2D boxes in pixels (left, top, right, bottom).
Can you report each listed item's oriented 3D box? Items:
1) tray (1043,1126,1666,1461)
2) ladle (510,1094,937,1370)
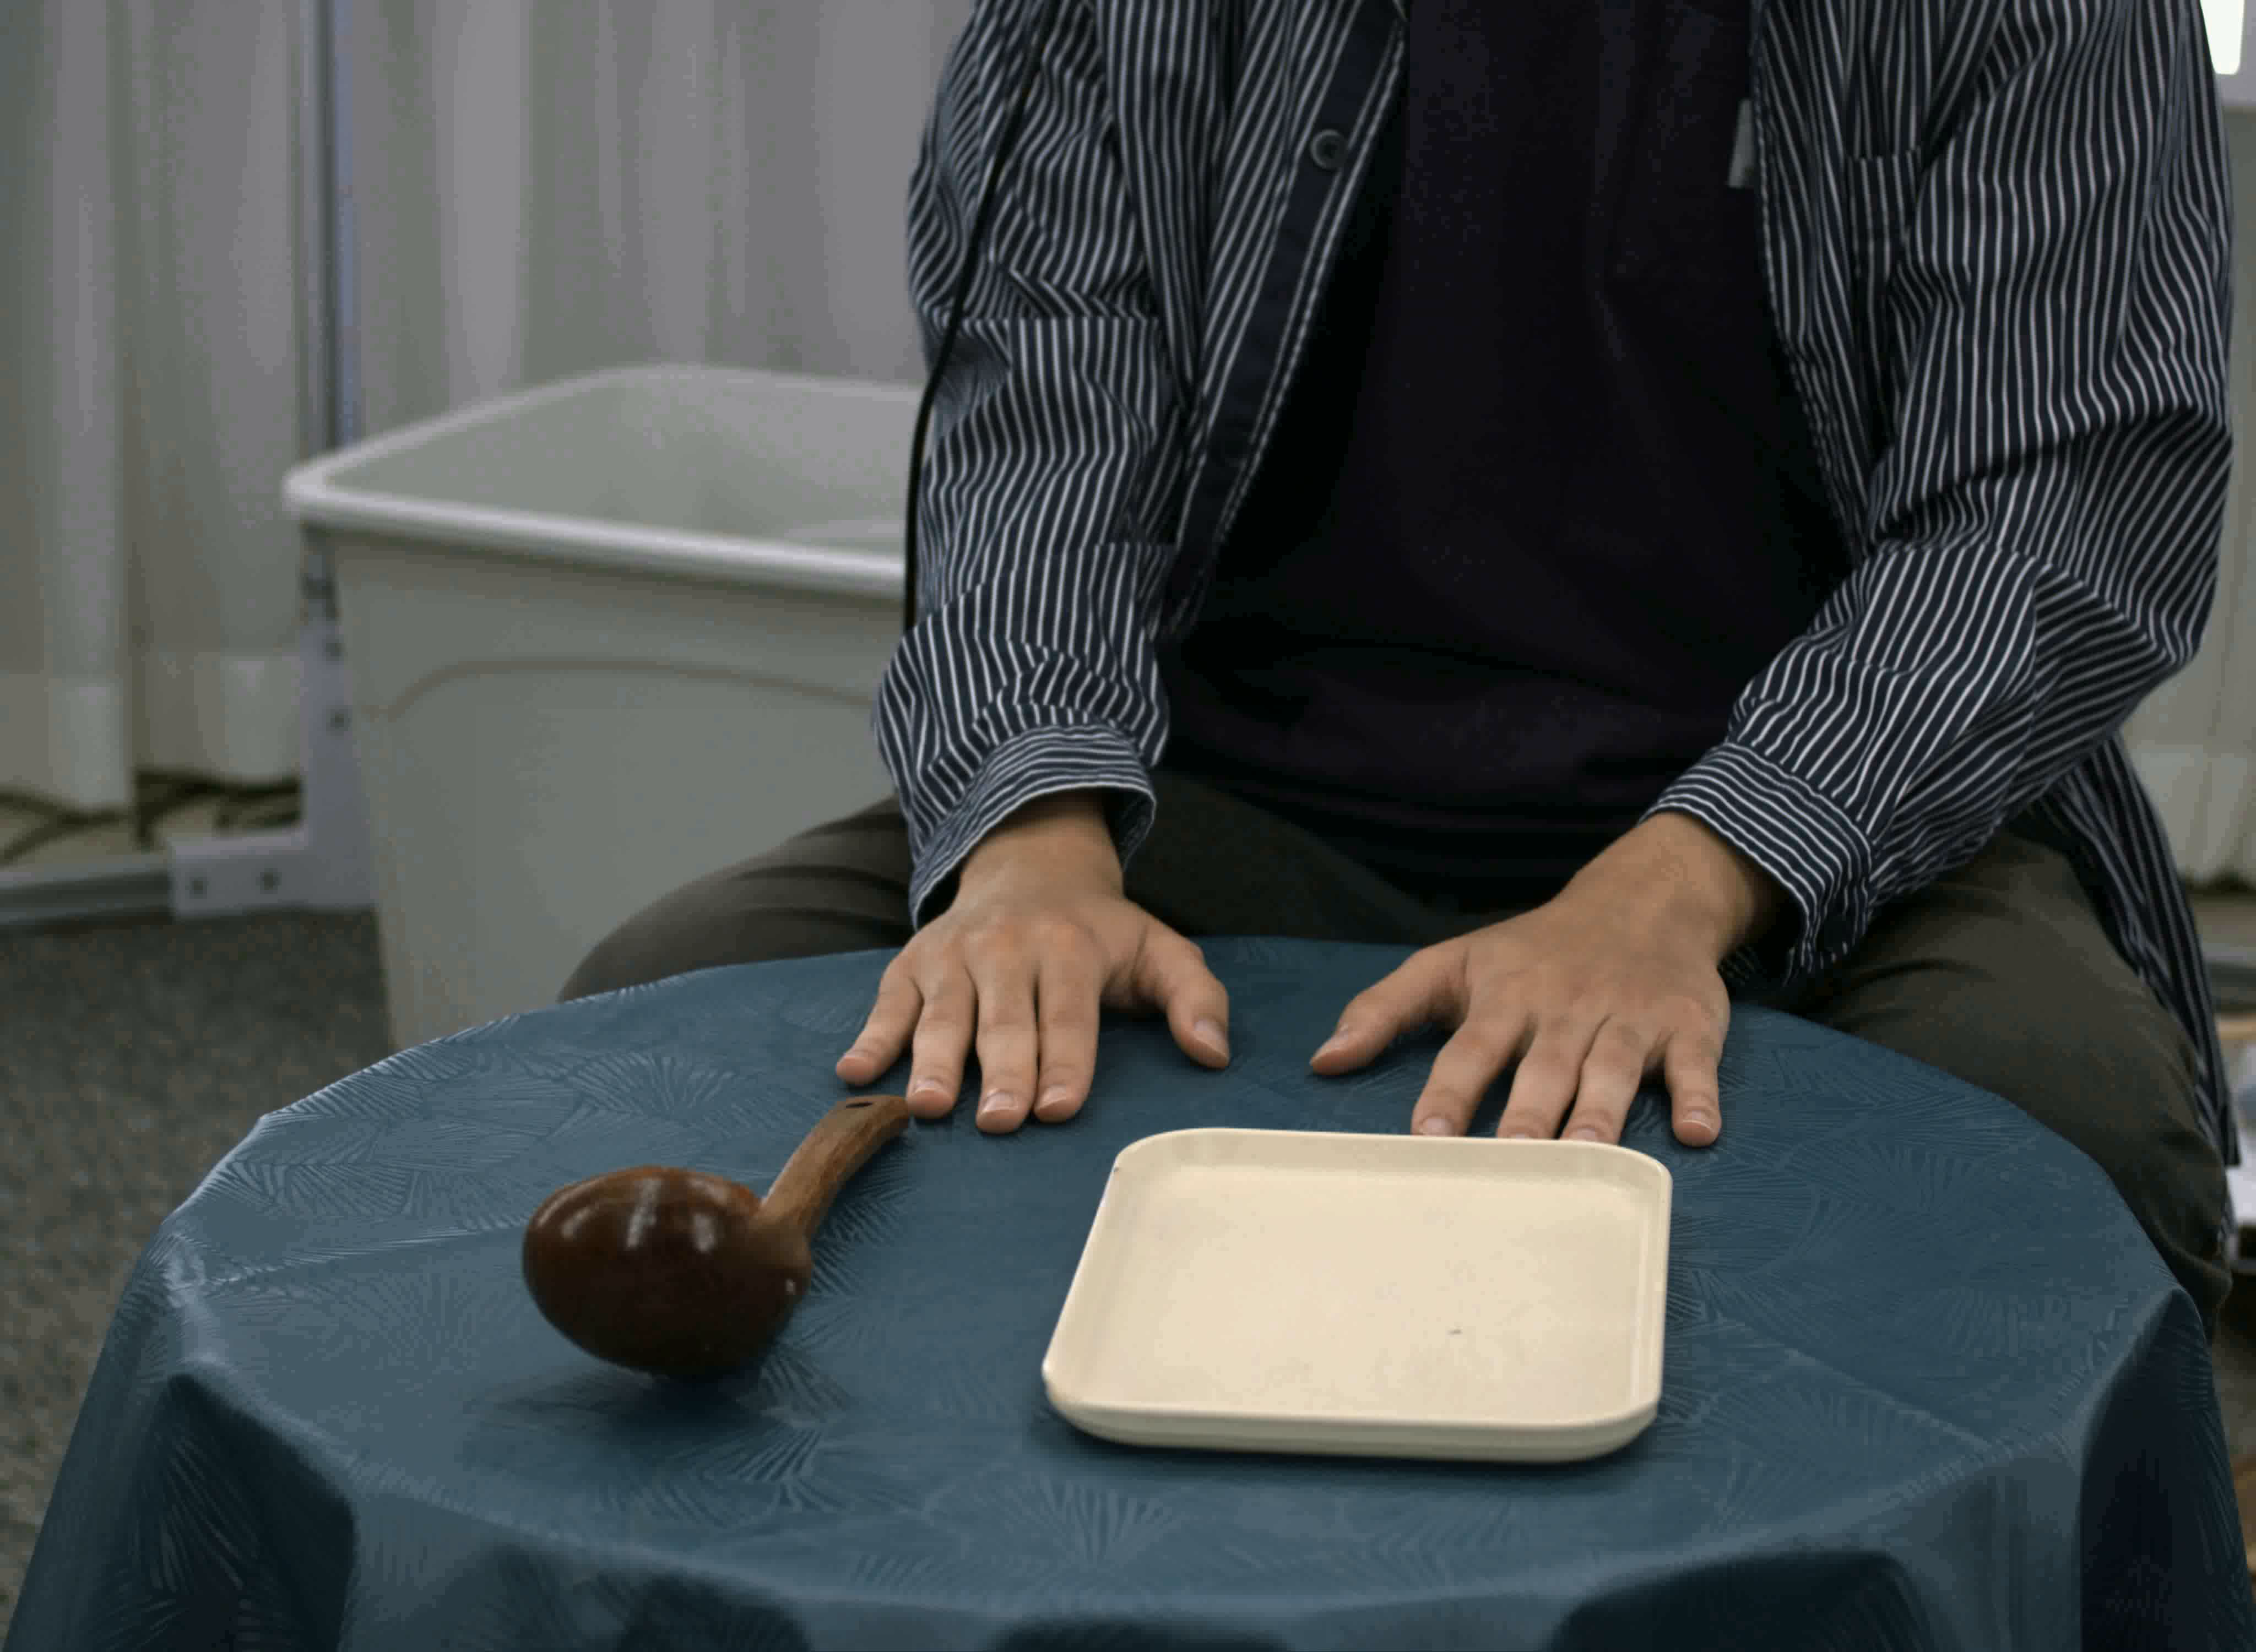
[{"bbox_3d":[0.070,0.133,1.521,0.170,0.017,0.239,3,15,6],"label":"tray"},{"bbox_3d":[-0.107,0.094,1.546,0.081,0.077,0.273,-1,15,13],"label":"ladle"}]
